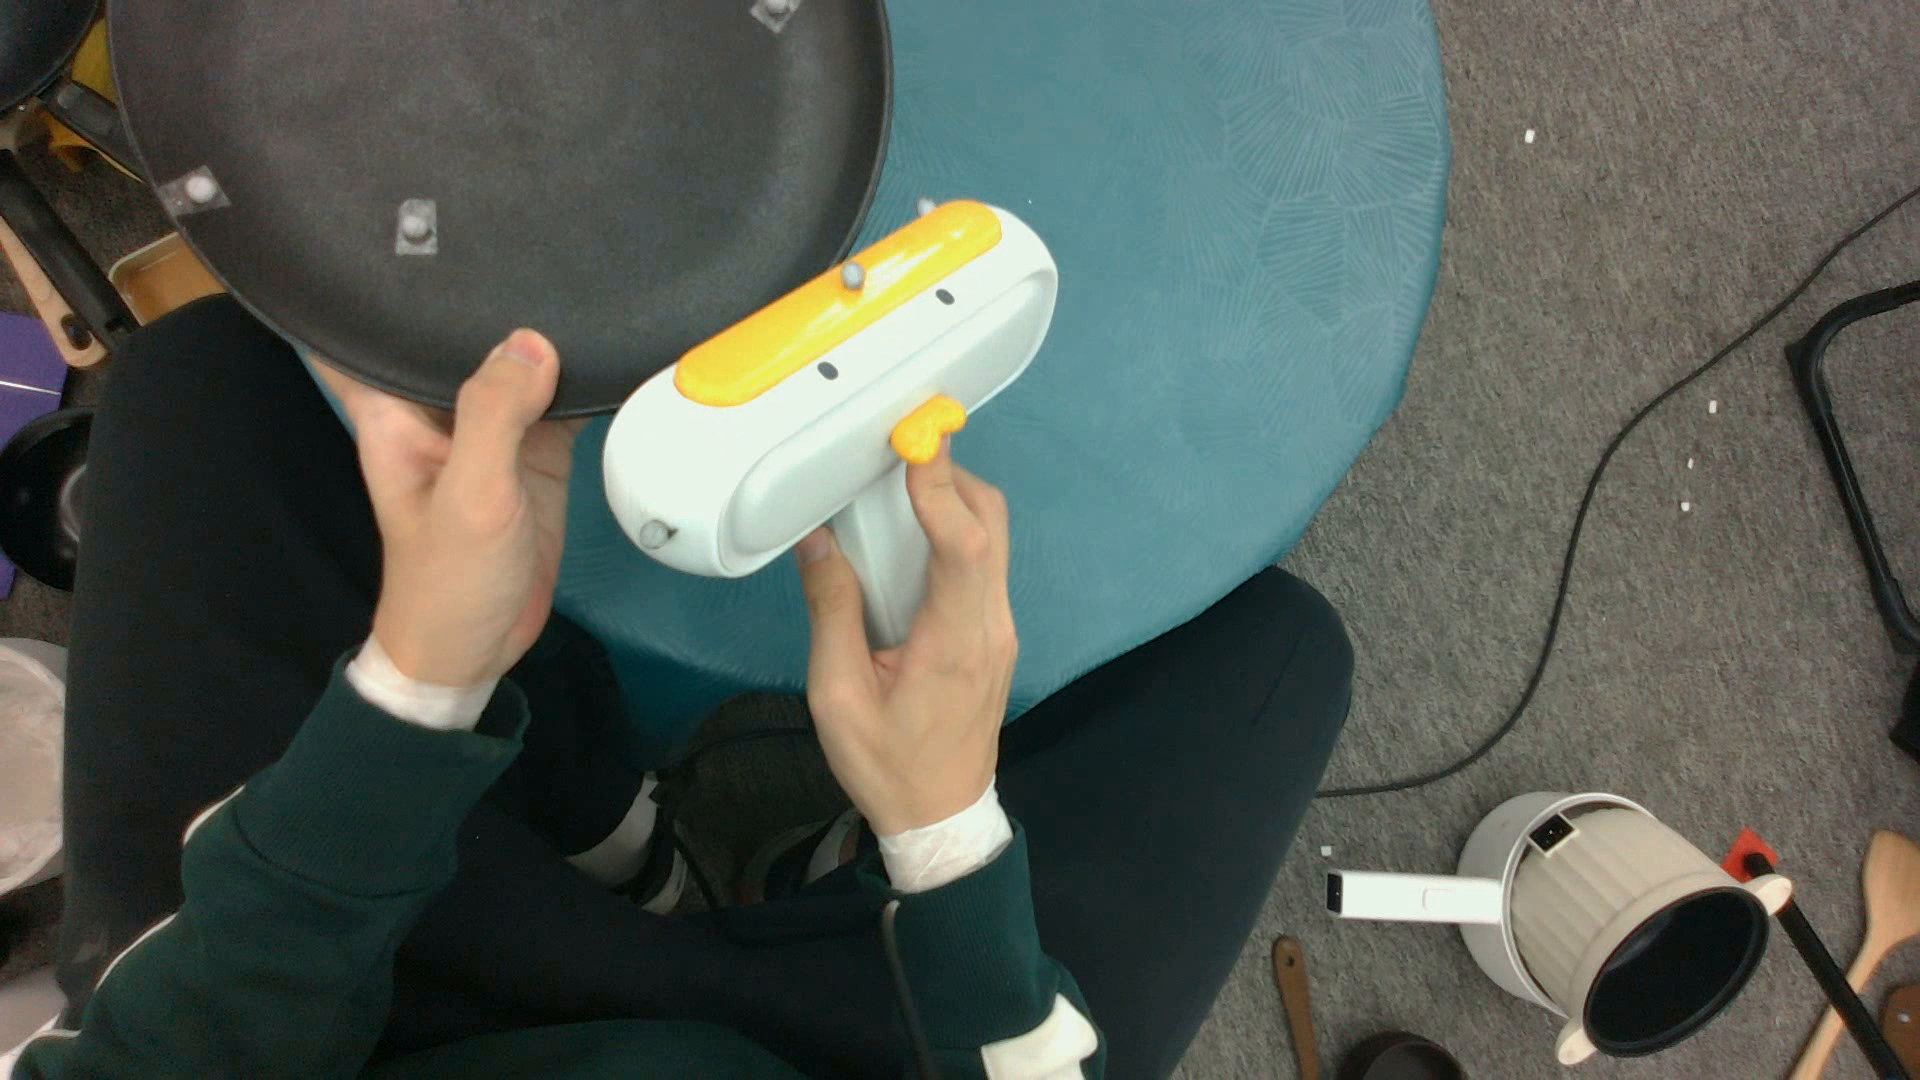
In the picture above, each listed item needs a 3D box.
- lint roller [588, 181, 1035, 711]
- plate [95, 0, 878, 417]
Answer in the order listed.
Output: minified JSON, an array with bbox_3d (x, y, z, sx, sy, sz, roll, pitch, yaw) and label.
[{"bbox_3d":[-0.035,-0.013,0.506,0.074,0.191,0.194,23,51,24],"label":"lint roller"},{"bbox_3d":[-0.149,-0.161,0.460,0.245,0.023,0.244,1,87,-15],"label":"plate"}]
